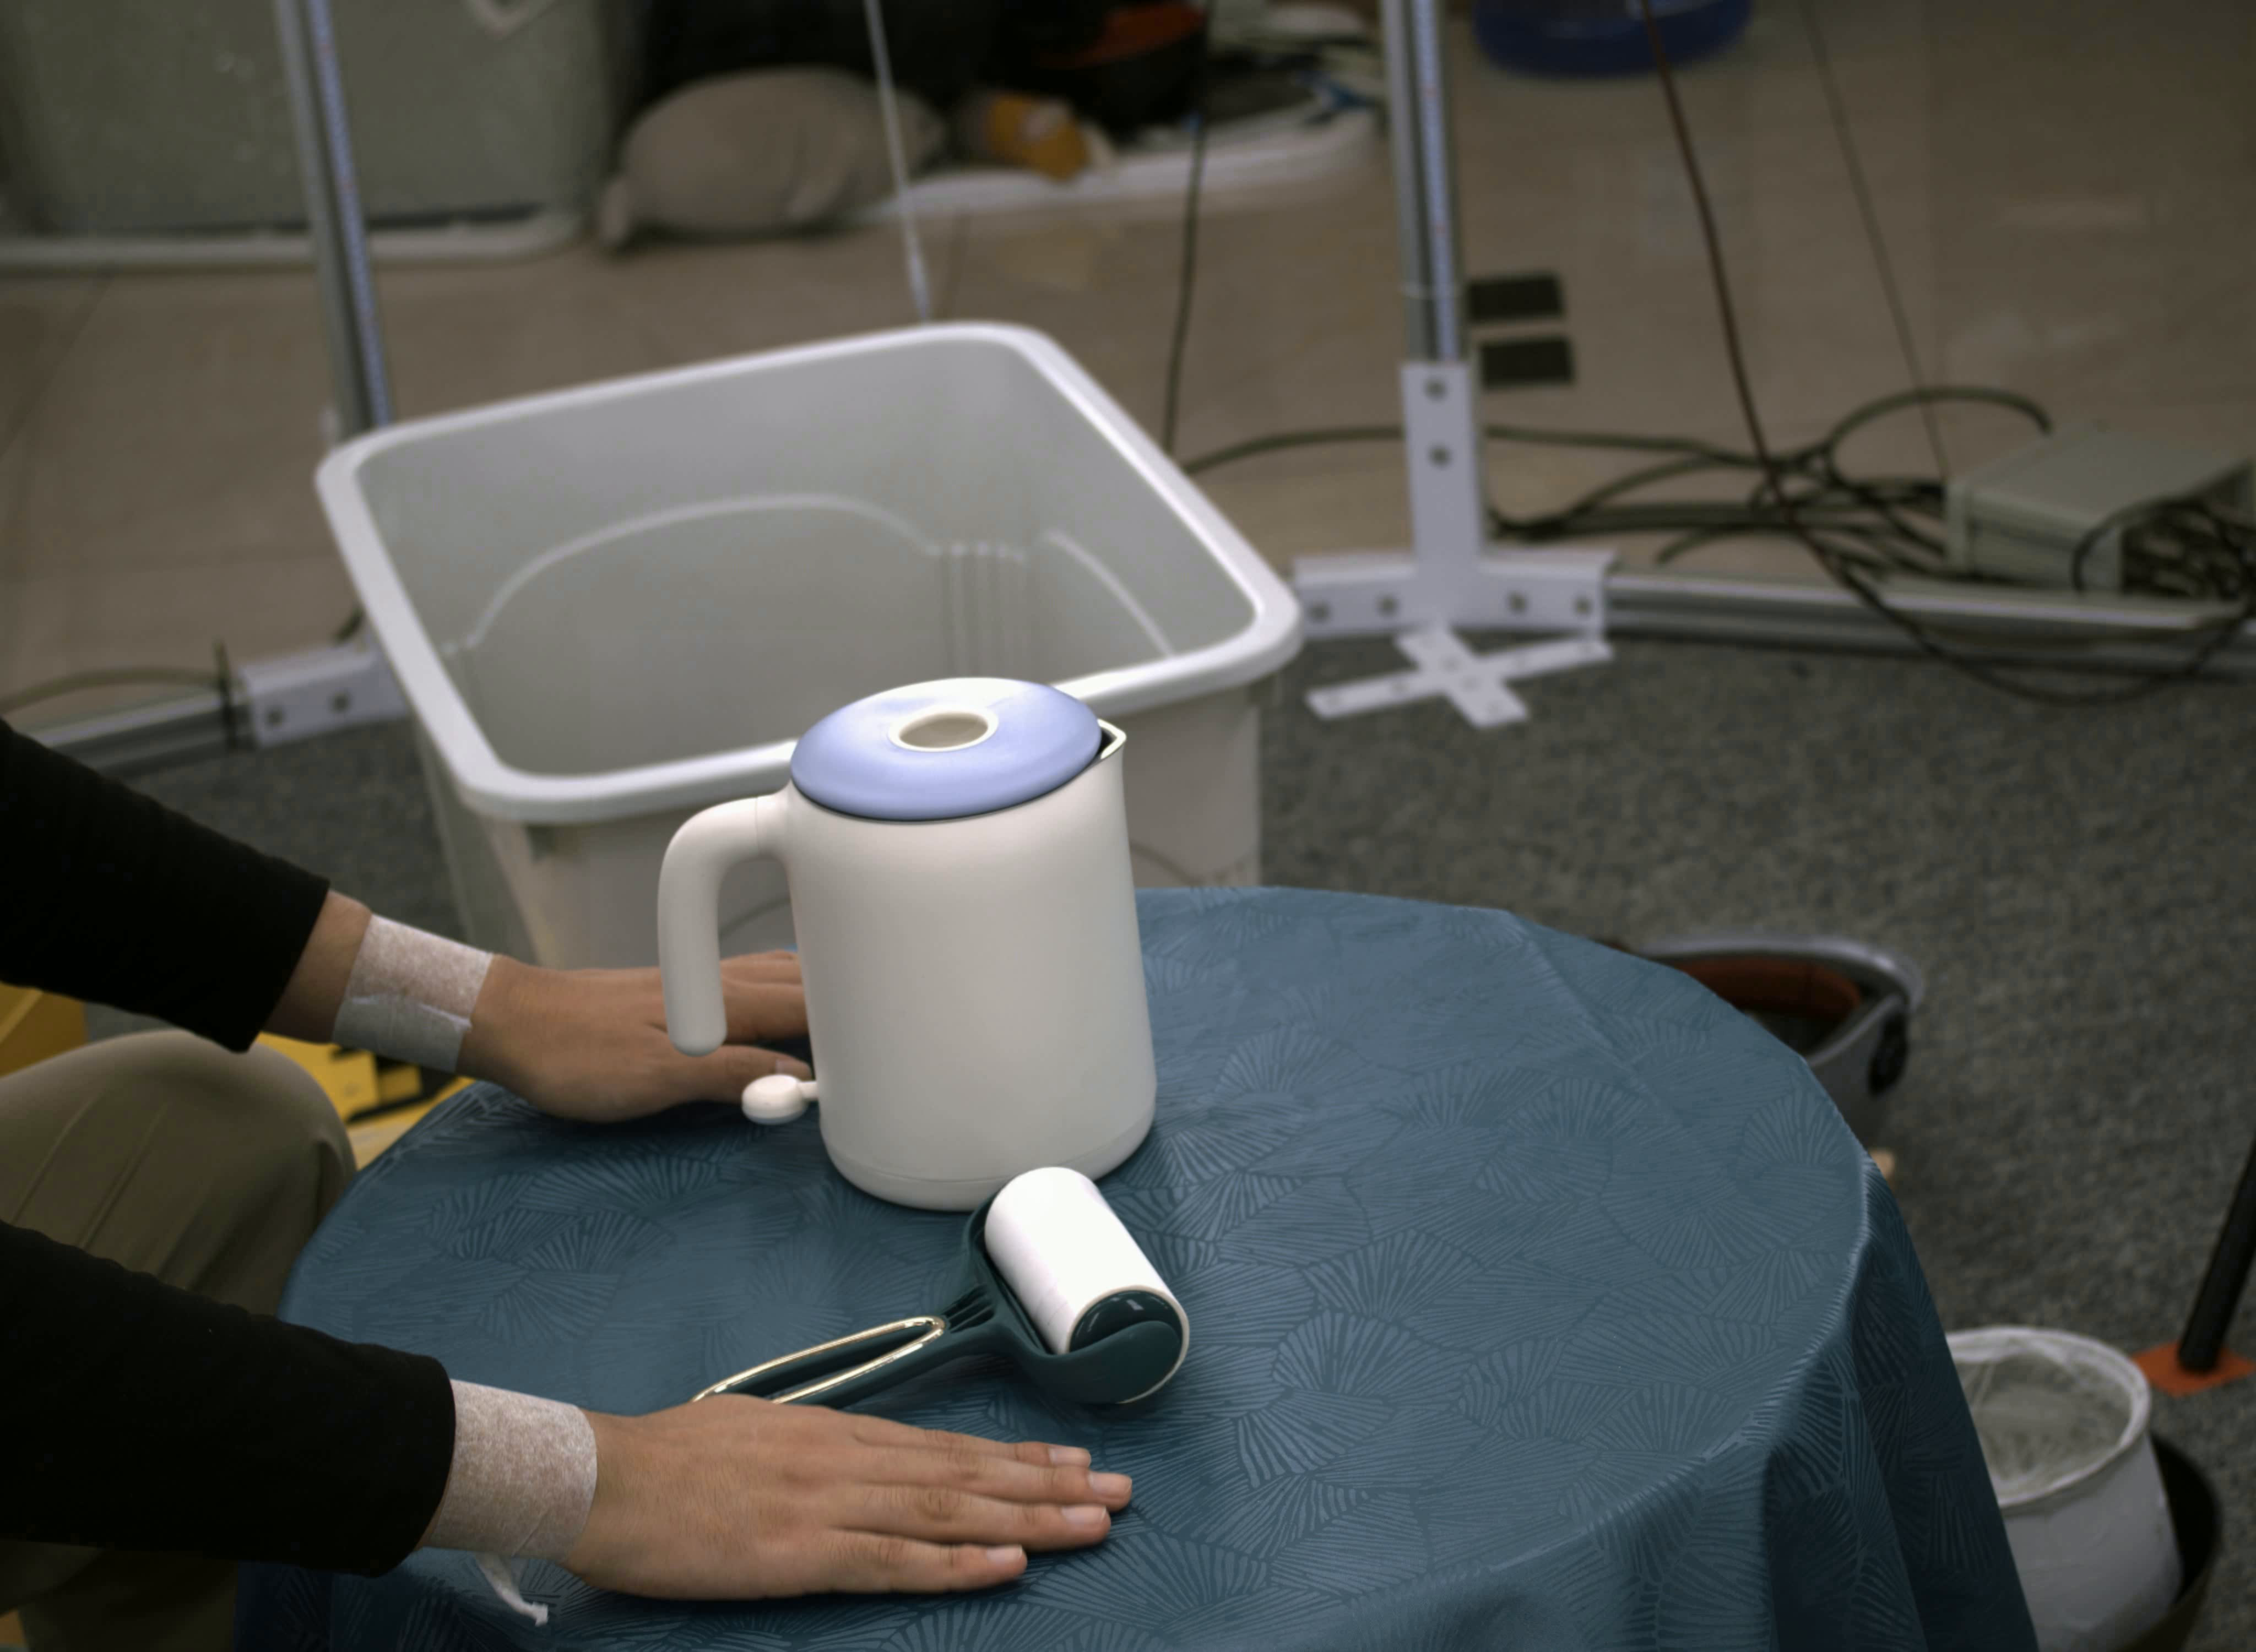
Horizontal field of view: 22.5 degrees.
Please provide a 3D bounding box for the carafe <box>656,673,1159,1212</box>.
[{"bbox_3d":[-0.085,0.047,2.160,0.191,0.185,0.130,-8,25,1],"label":"carafe"}]

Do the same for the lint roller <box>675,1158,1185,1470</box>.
[{"bbox_3d":[-0.079,0.182,2.025,0.179,0.049,0.132,-16,26,-12],"label":"lint roller"}]
